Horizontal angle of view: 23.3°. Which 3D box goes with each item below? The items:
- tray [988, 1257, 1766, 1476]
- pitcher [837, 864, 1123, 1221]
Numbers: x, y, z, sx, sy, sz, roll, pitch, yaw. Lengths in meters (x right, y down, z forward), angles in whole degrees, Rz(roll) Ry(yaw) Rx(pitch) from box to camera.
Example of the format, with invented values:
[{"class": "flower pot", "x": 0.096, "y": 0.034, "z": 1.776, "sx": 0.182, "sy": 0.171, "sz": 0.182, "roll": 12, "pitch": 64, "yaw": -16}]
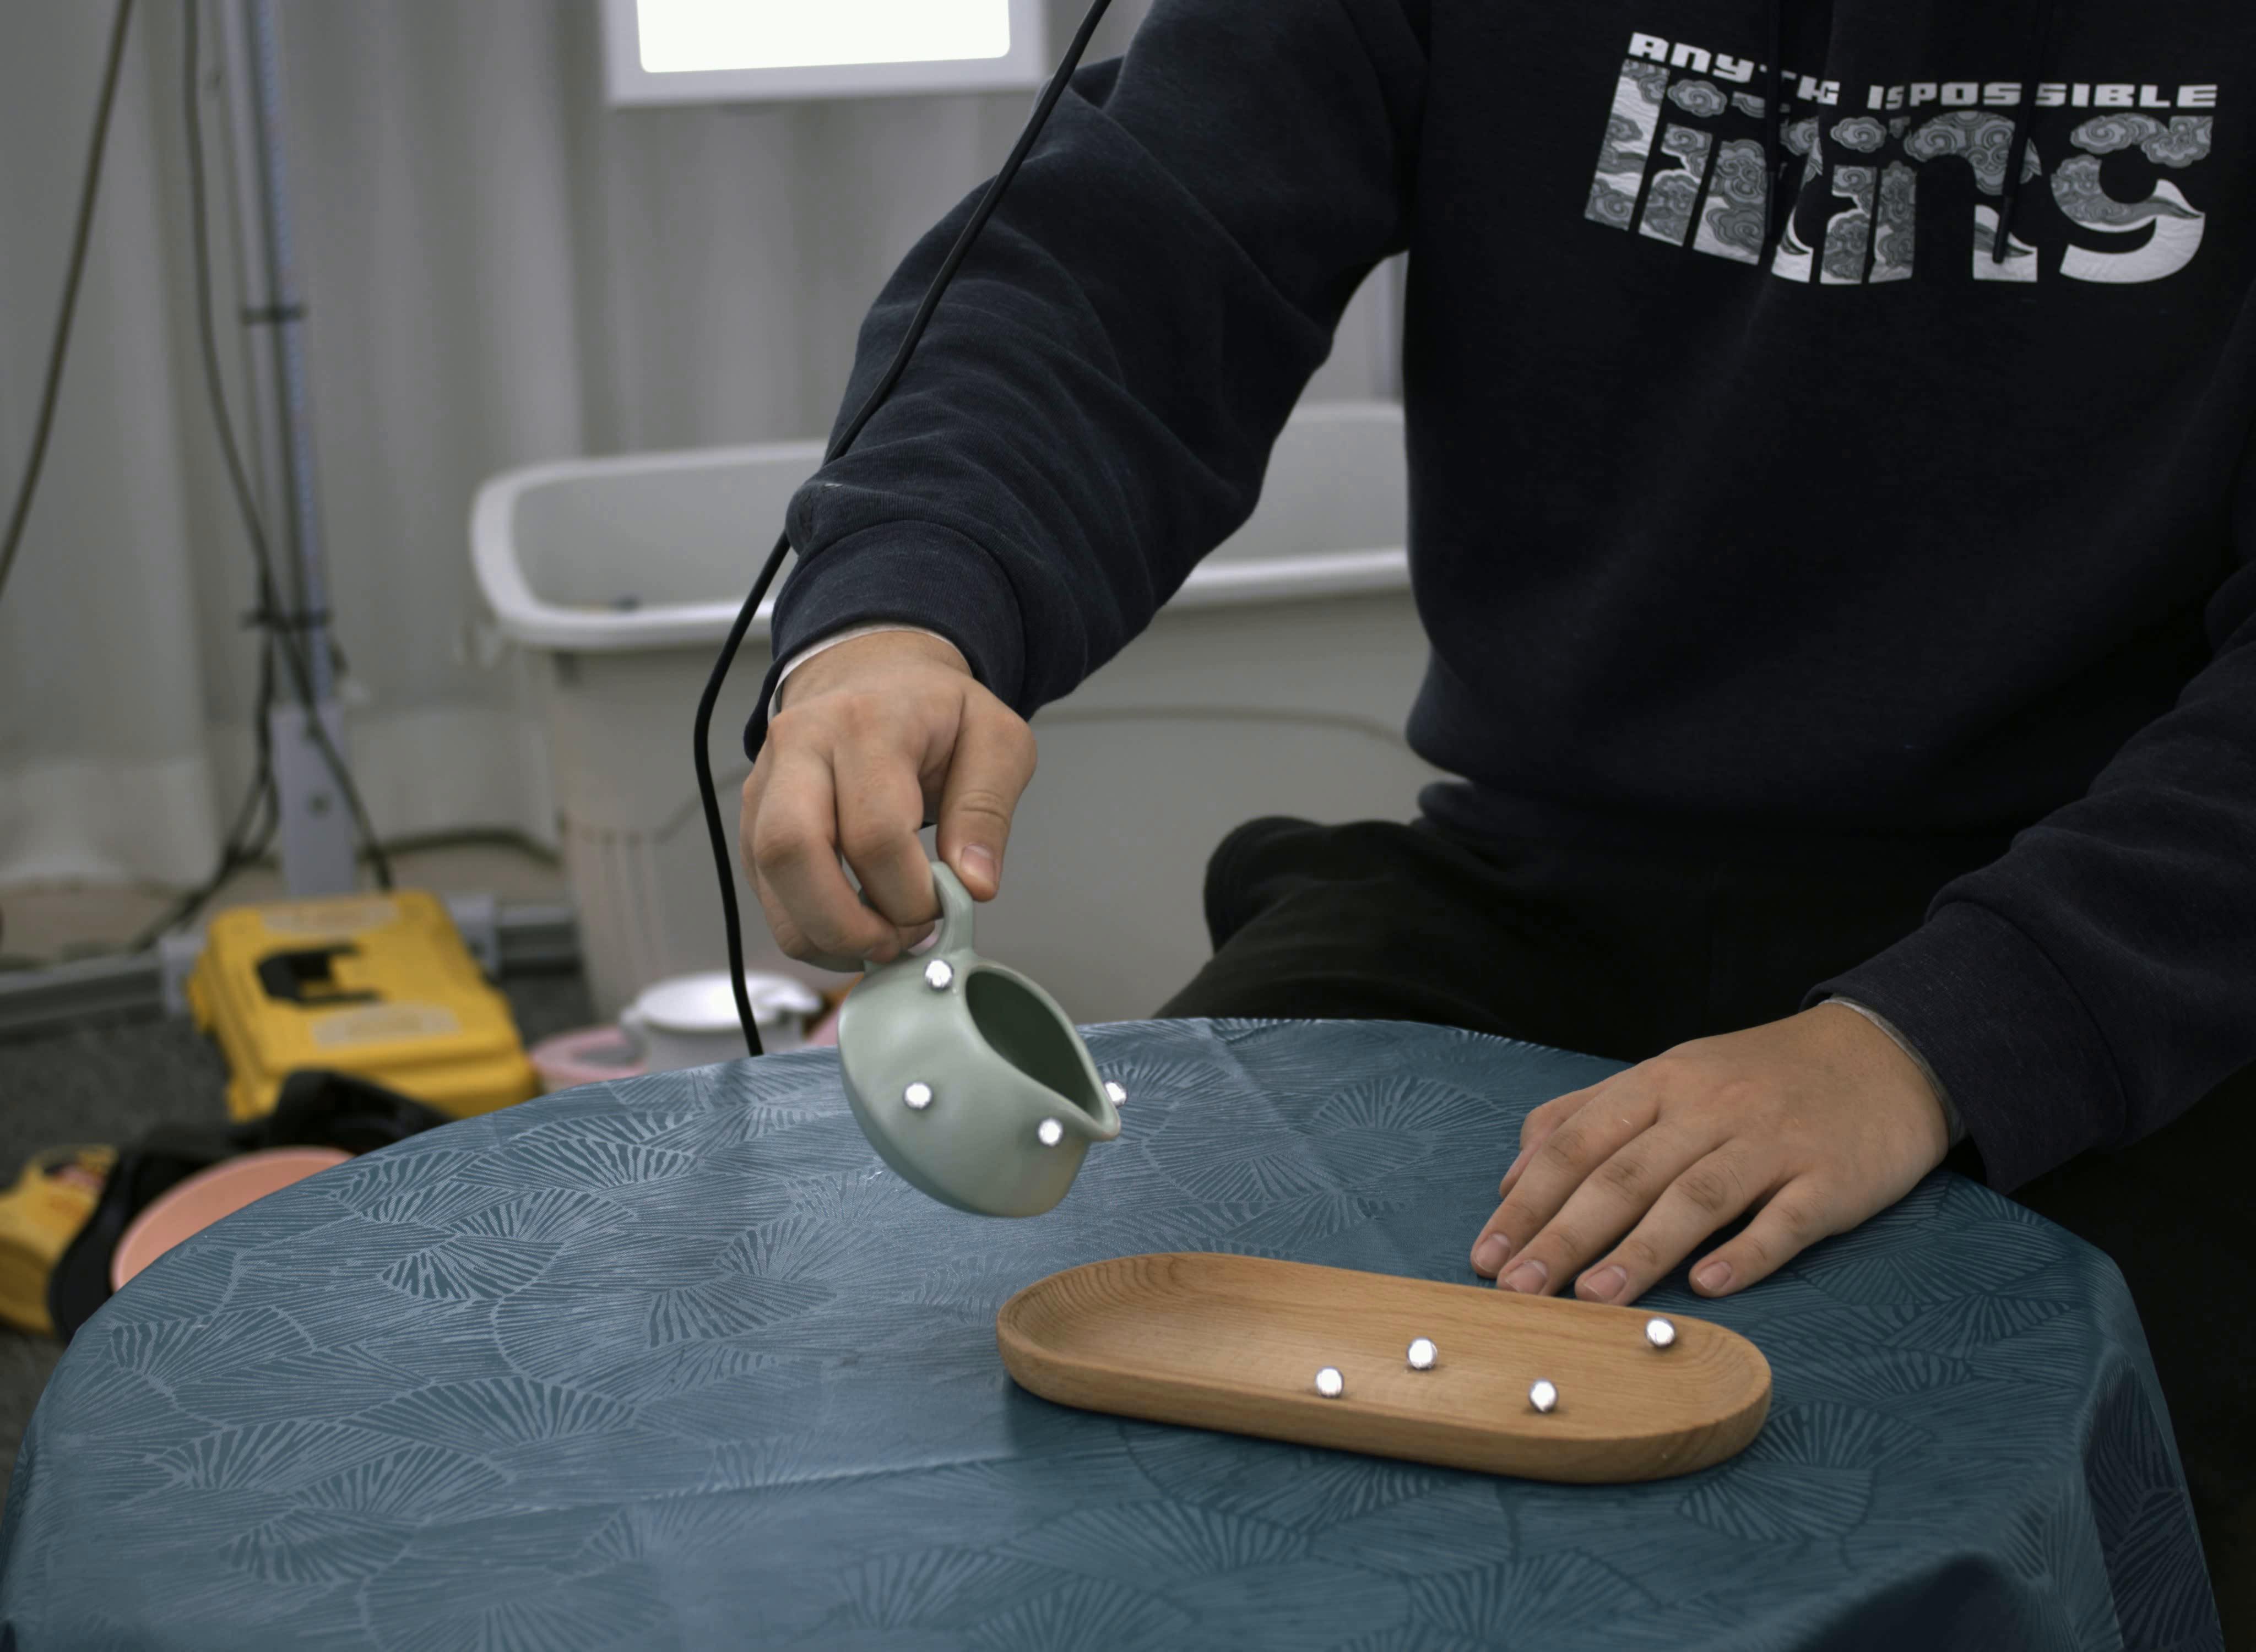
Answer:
[{"class": "tray", "x": 0.068, "y": 0.152, "z": 1.537, "sx": 0.231, "sy": 0.020, "sz": 0.102, "roll": 3, "pitch": 14, "yaw": 28}, {"class": "pitcher", "x": -0.049, "y": 0.063, "z": 1.570, "sx": 0.060, "sy": 0.109, "sz": 0.086, "roll": -45, "pitch": -18, "yaw": 26}]
